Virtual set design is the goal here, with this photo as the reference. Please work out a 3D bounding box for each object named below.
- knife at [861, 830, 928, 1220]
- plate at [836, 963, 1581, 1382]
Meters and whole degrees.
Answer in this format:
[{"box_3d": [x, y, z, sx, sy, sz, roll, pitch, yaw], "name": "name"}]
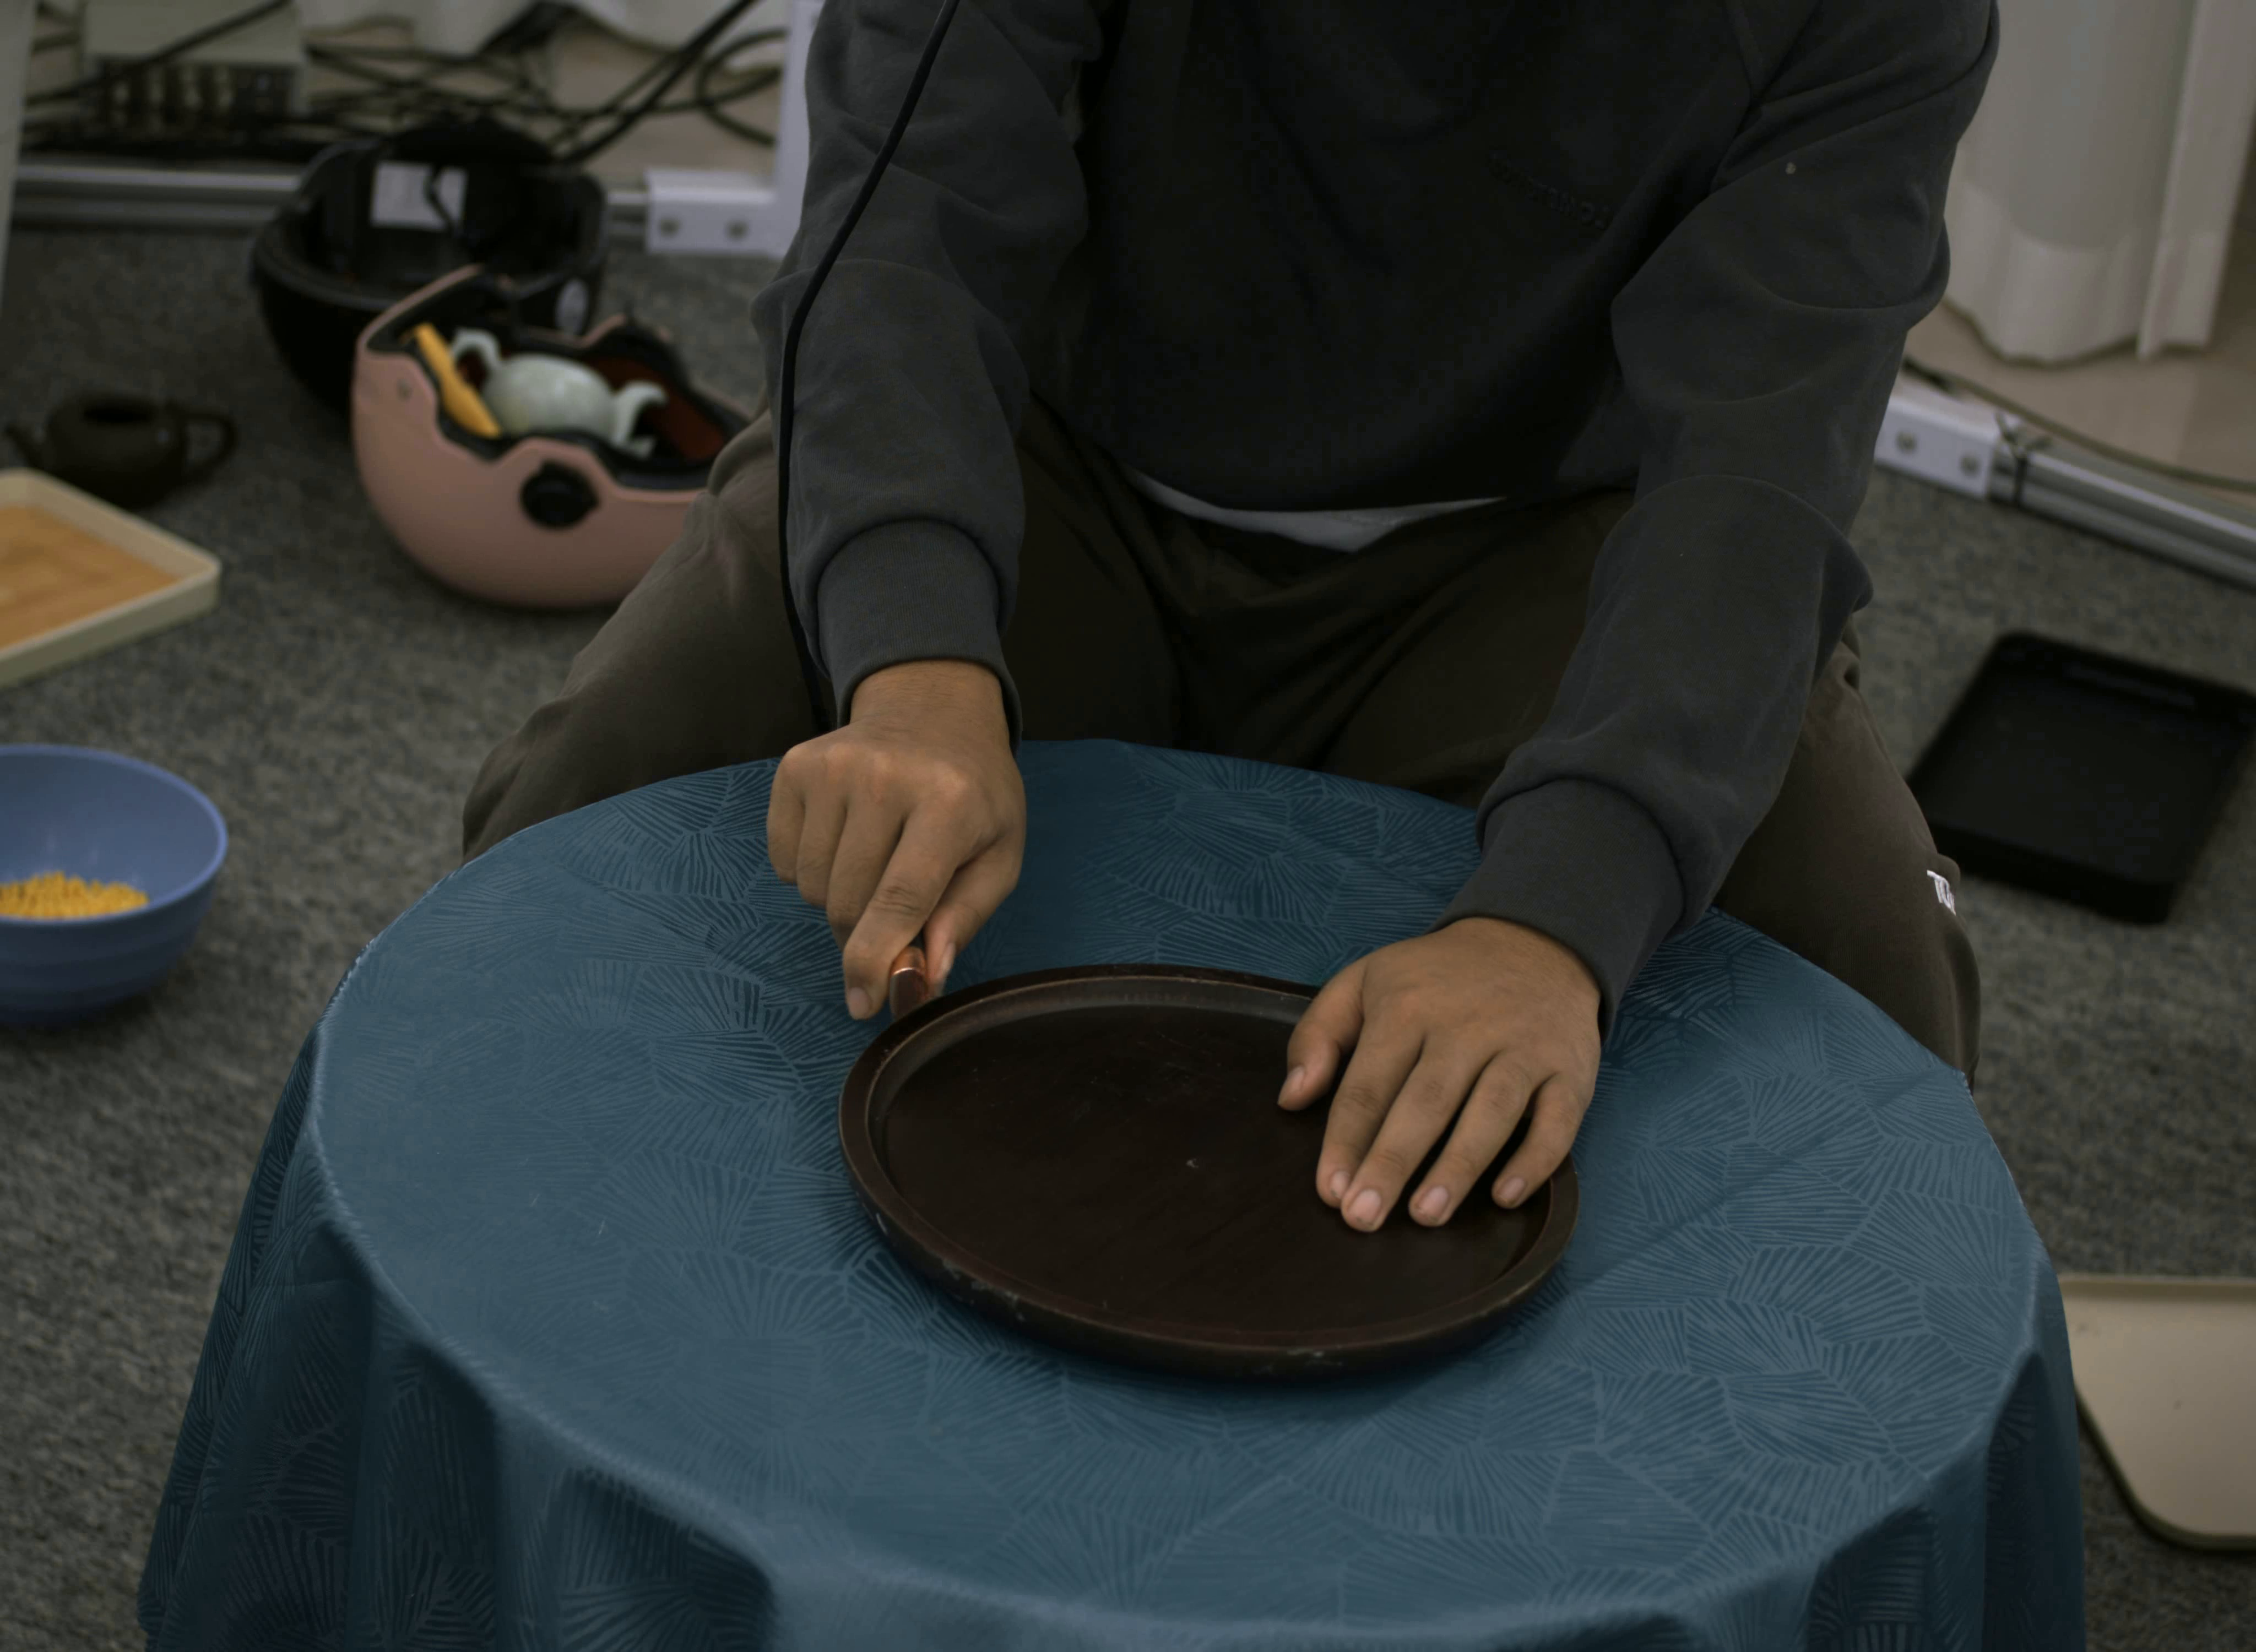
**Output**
[{"box_3d": [-0.078, 0.065, 1.825, 0.017, 0.026, 0.227, 0, 30, -6], "name": "knife"}, {"box_3d": [0.027, 0.116, 1.803, 0.254, 0.029, 0.256, 4, 26, -2], "name": "plate"}]
